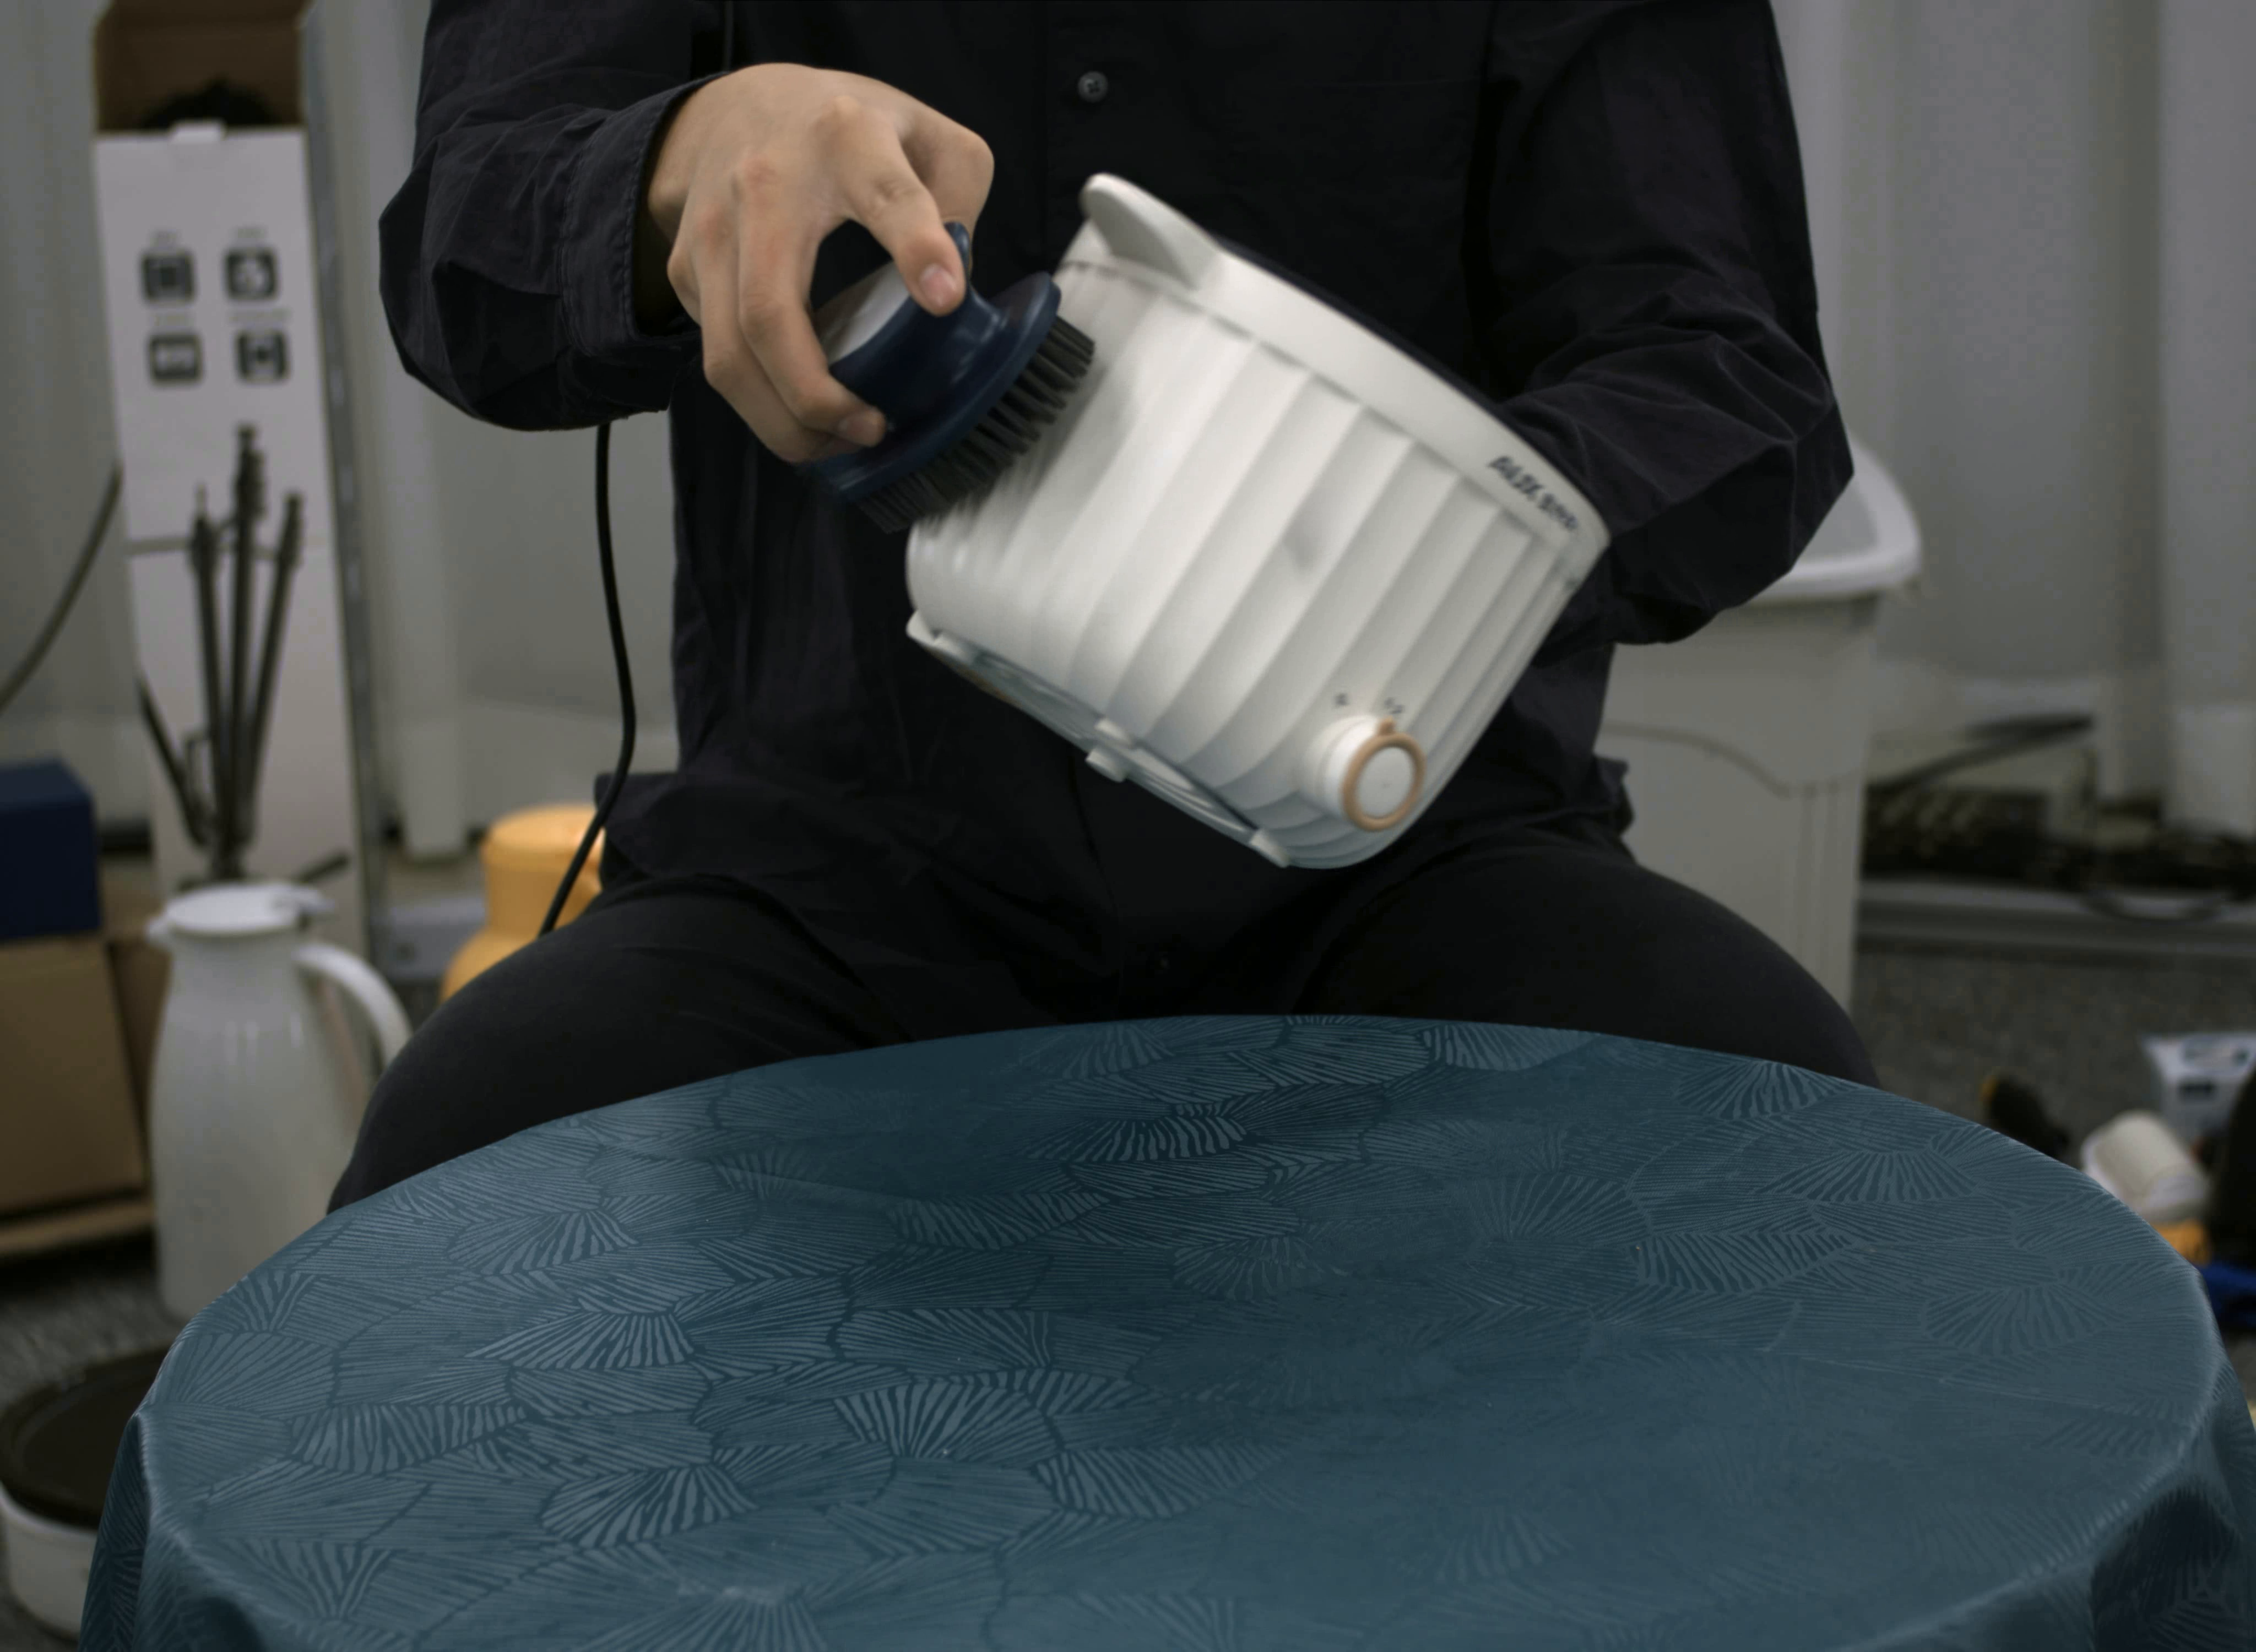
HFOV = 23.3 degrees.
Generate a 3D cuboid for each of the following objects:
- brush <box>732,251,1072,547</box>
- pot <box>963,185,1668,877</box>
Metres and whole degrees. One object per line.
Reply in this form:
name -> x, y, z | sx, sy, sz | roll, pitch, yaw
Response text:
brush -> -0.064, -0.120, 1.582 | 0.061, 0.068, 0.121 | 35, -22, -19
pot -> 0.053, -0.073, 1.621 | 0.192, 0.143, 0.237 | 23, -9, 44
